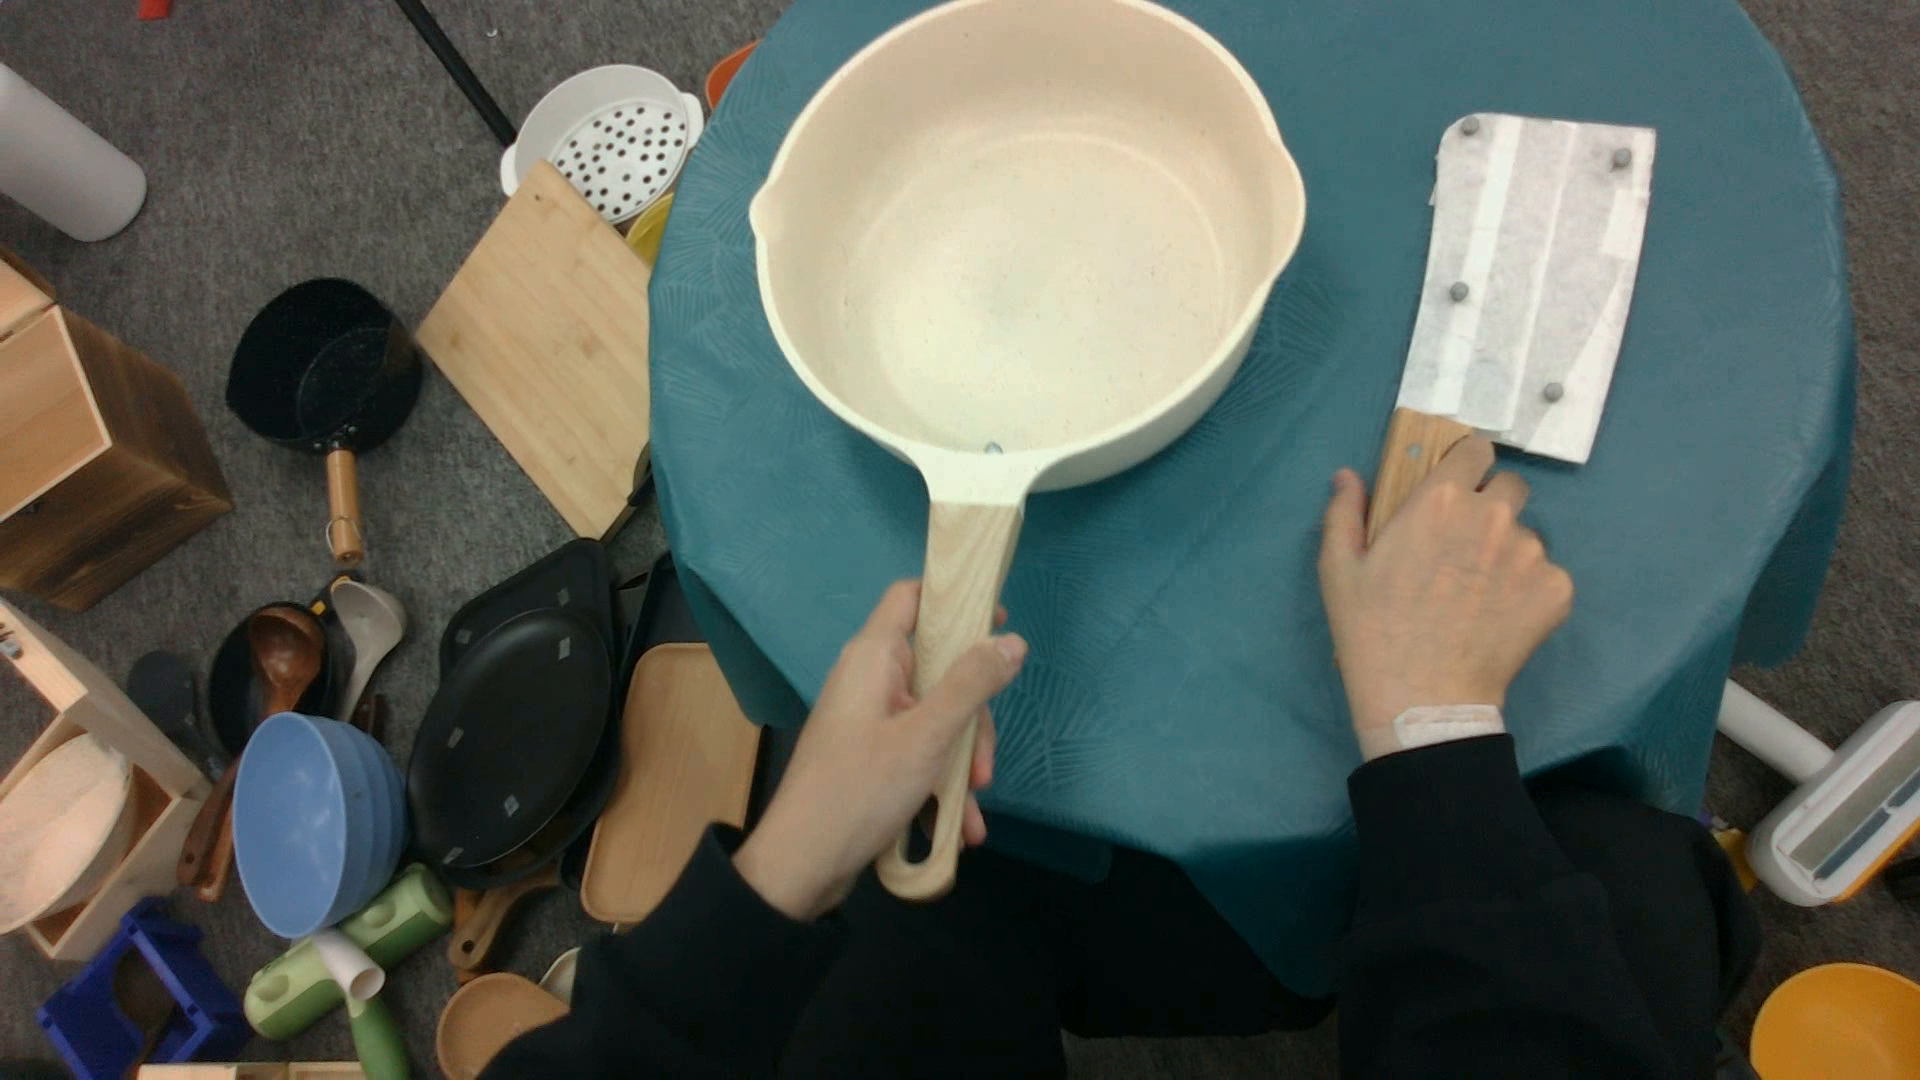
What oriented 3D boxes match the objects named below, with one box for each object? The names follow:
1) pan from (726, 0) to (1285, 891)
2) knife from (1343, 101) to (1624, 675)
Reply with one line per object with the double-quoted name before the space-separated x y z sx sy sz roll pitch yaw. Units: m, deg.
"pan" 0.012 -0.057 0.640 0.263 0.102 0.436 3 71 11
"knife" 0.236 -0.083 0.645 0.114 0.021 0.316 17 73 16
